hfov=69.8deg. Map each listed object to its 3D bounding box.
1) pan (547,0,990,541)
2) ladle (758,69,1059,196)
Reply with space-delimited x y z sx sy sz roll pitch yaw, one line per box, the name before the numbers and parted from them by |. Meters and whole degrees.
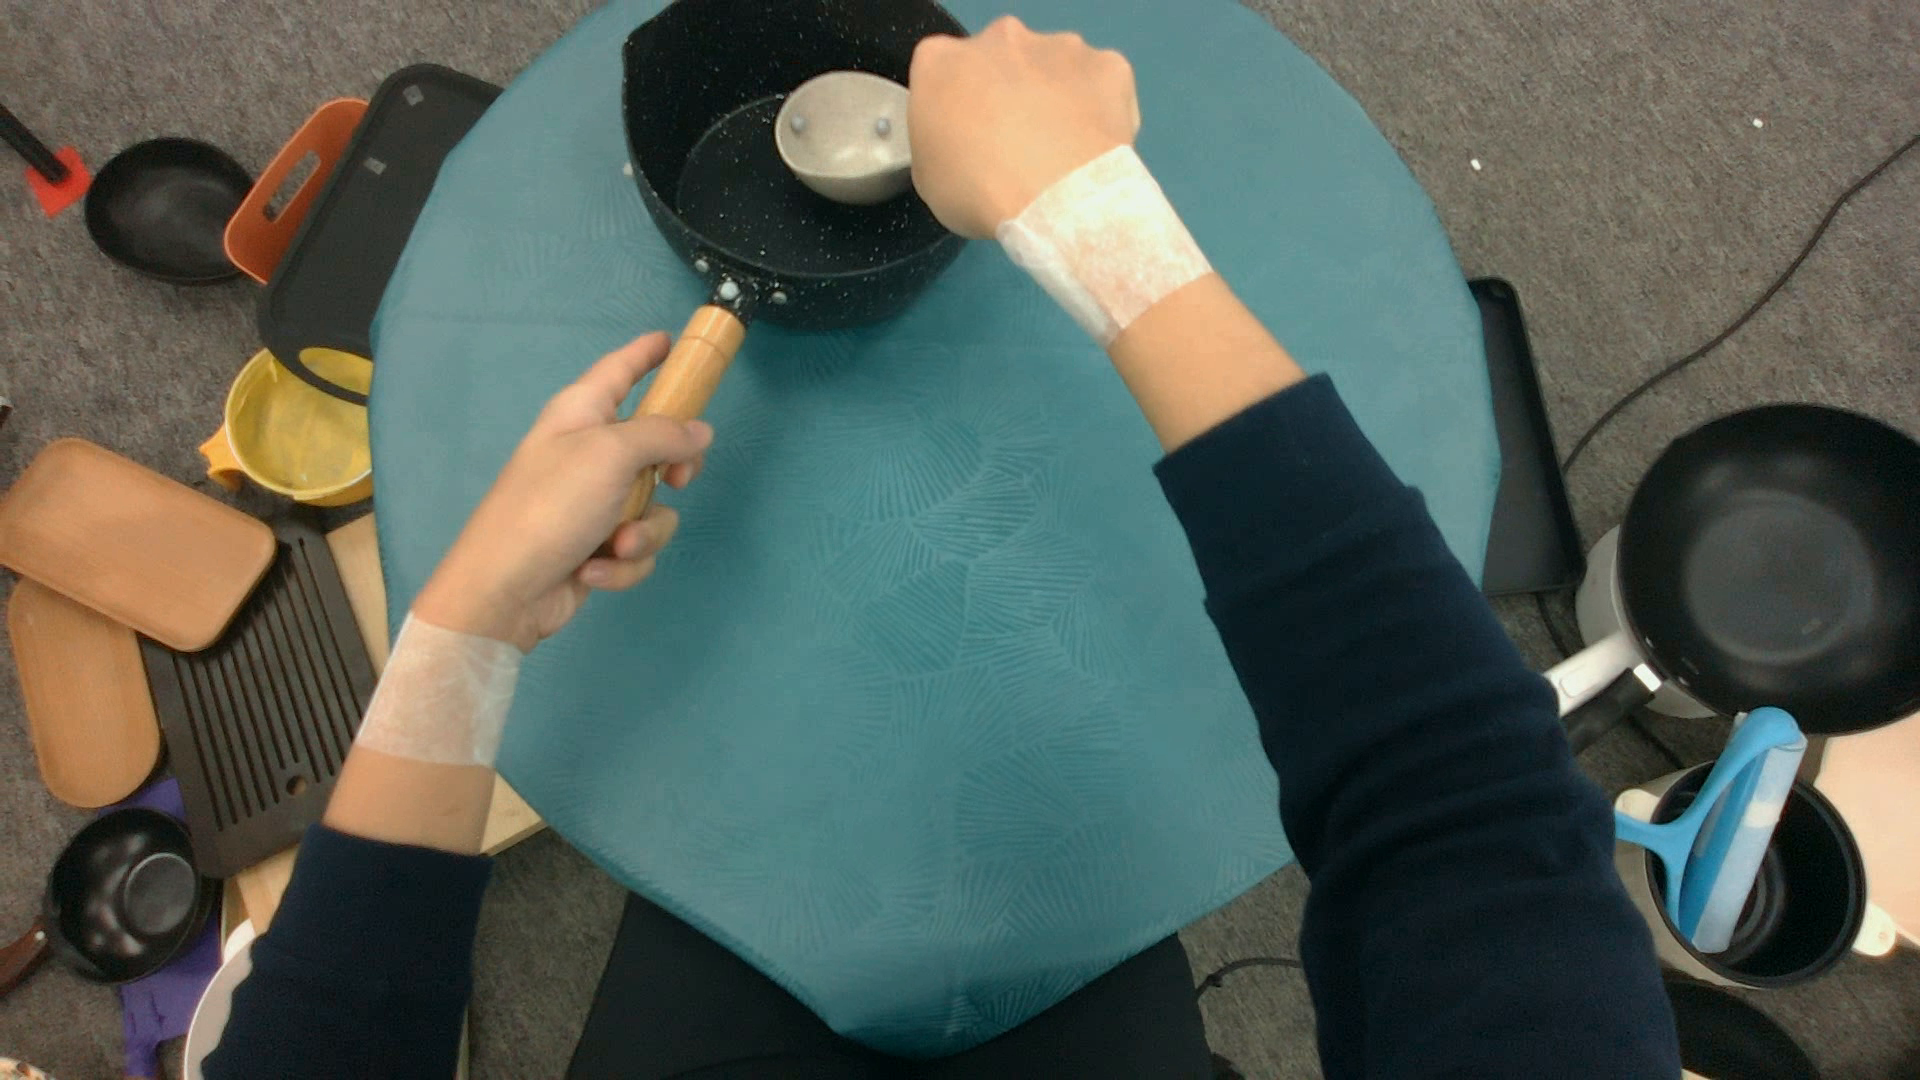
pan | -0.108 -0.135 0.673 0.207 0.108 0.344 20 68 -1
ladle | -0.023 -0.200 0.634 0.089 0.274 0.069 -13 104 -19
